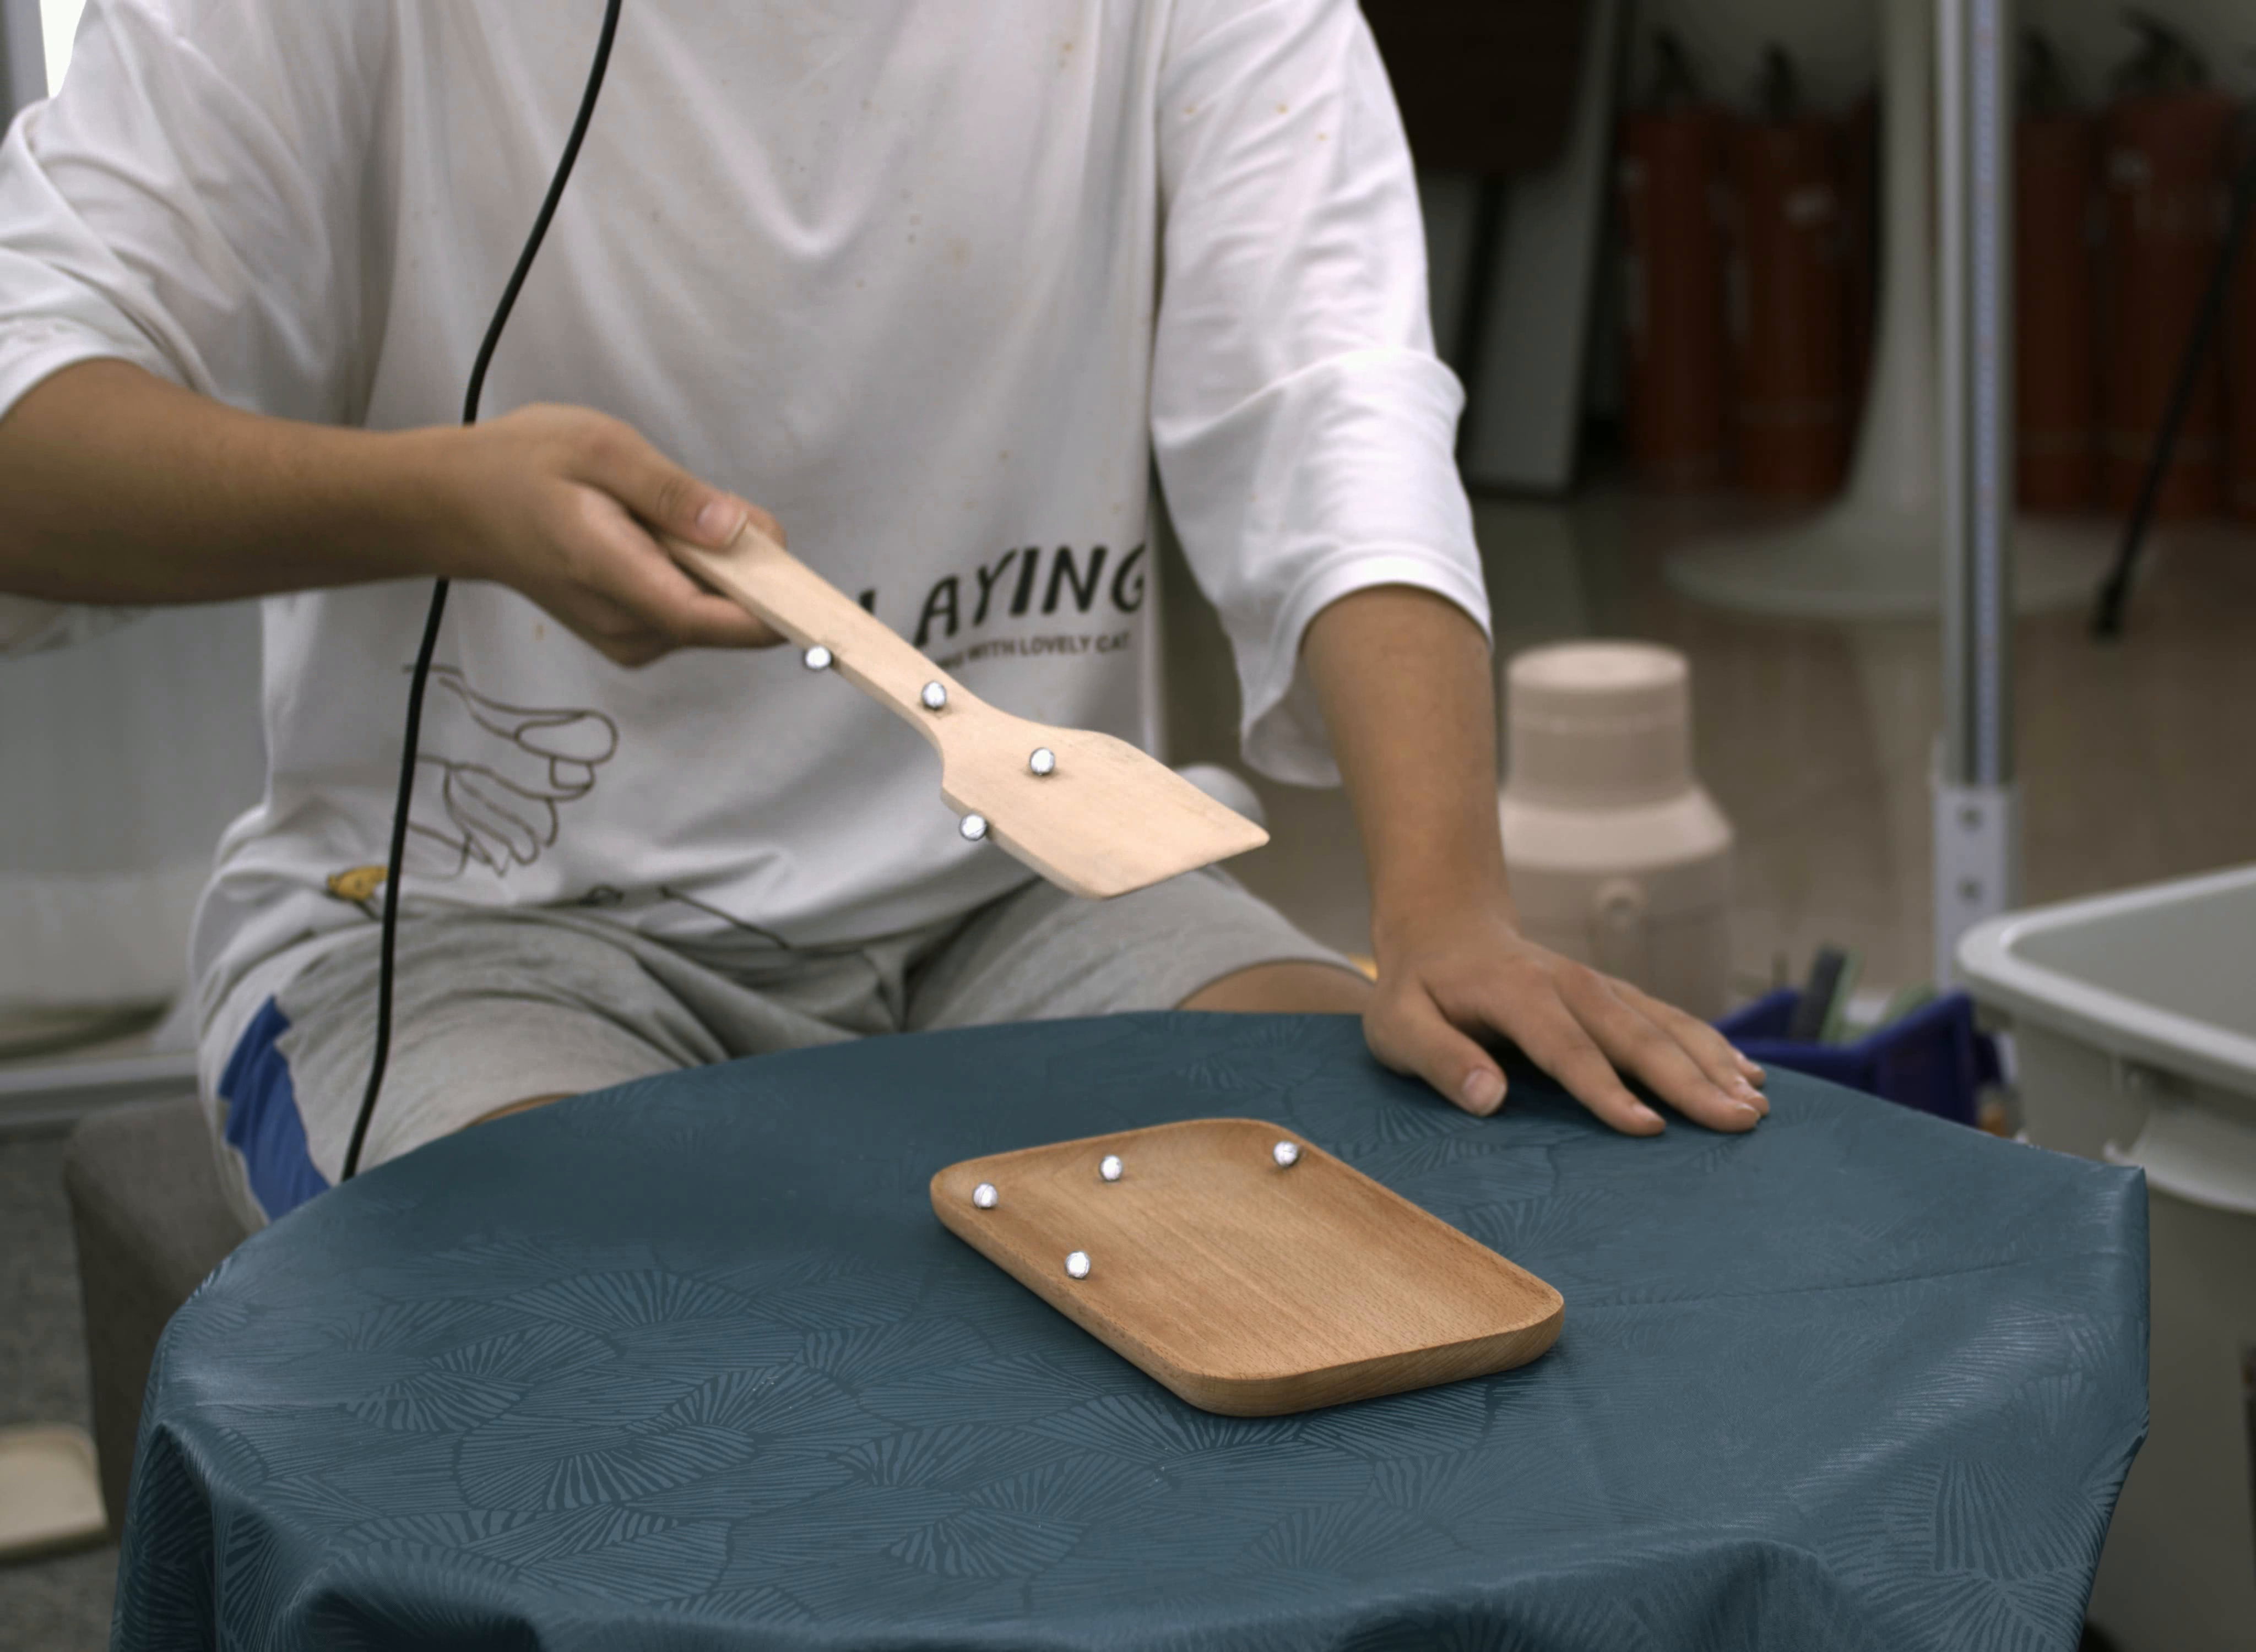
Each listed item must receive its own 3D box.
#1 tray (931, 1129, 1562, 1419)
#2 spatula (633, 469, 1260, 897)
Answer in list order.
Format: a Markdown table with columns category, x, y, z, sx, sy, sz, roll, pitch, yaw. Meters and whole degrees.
| category | x | y | z | sx | sy | sz | roll | pitch | yaw |
| --- | --- | --- | --- | --- | --- | --- | --- | --- | --- |
| tray | 0.033 | 0.136 | 1.671 | 0.128 | 0.023 | 0.253 | -11 | 15 | -19 |
| spatula | -0.073 | -0.051 | 1.744 | 0.071 | 0.011 | 0.296 | -19 | 38 | -33 |
